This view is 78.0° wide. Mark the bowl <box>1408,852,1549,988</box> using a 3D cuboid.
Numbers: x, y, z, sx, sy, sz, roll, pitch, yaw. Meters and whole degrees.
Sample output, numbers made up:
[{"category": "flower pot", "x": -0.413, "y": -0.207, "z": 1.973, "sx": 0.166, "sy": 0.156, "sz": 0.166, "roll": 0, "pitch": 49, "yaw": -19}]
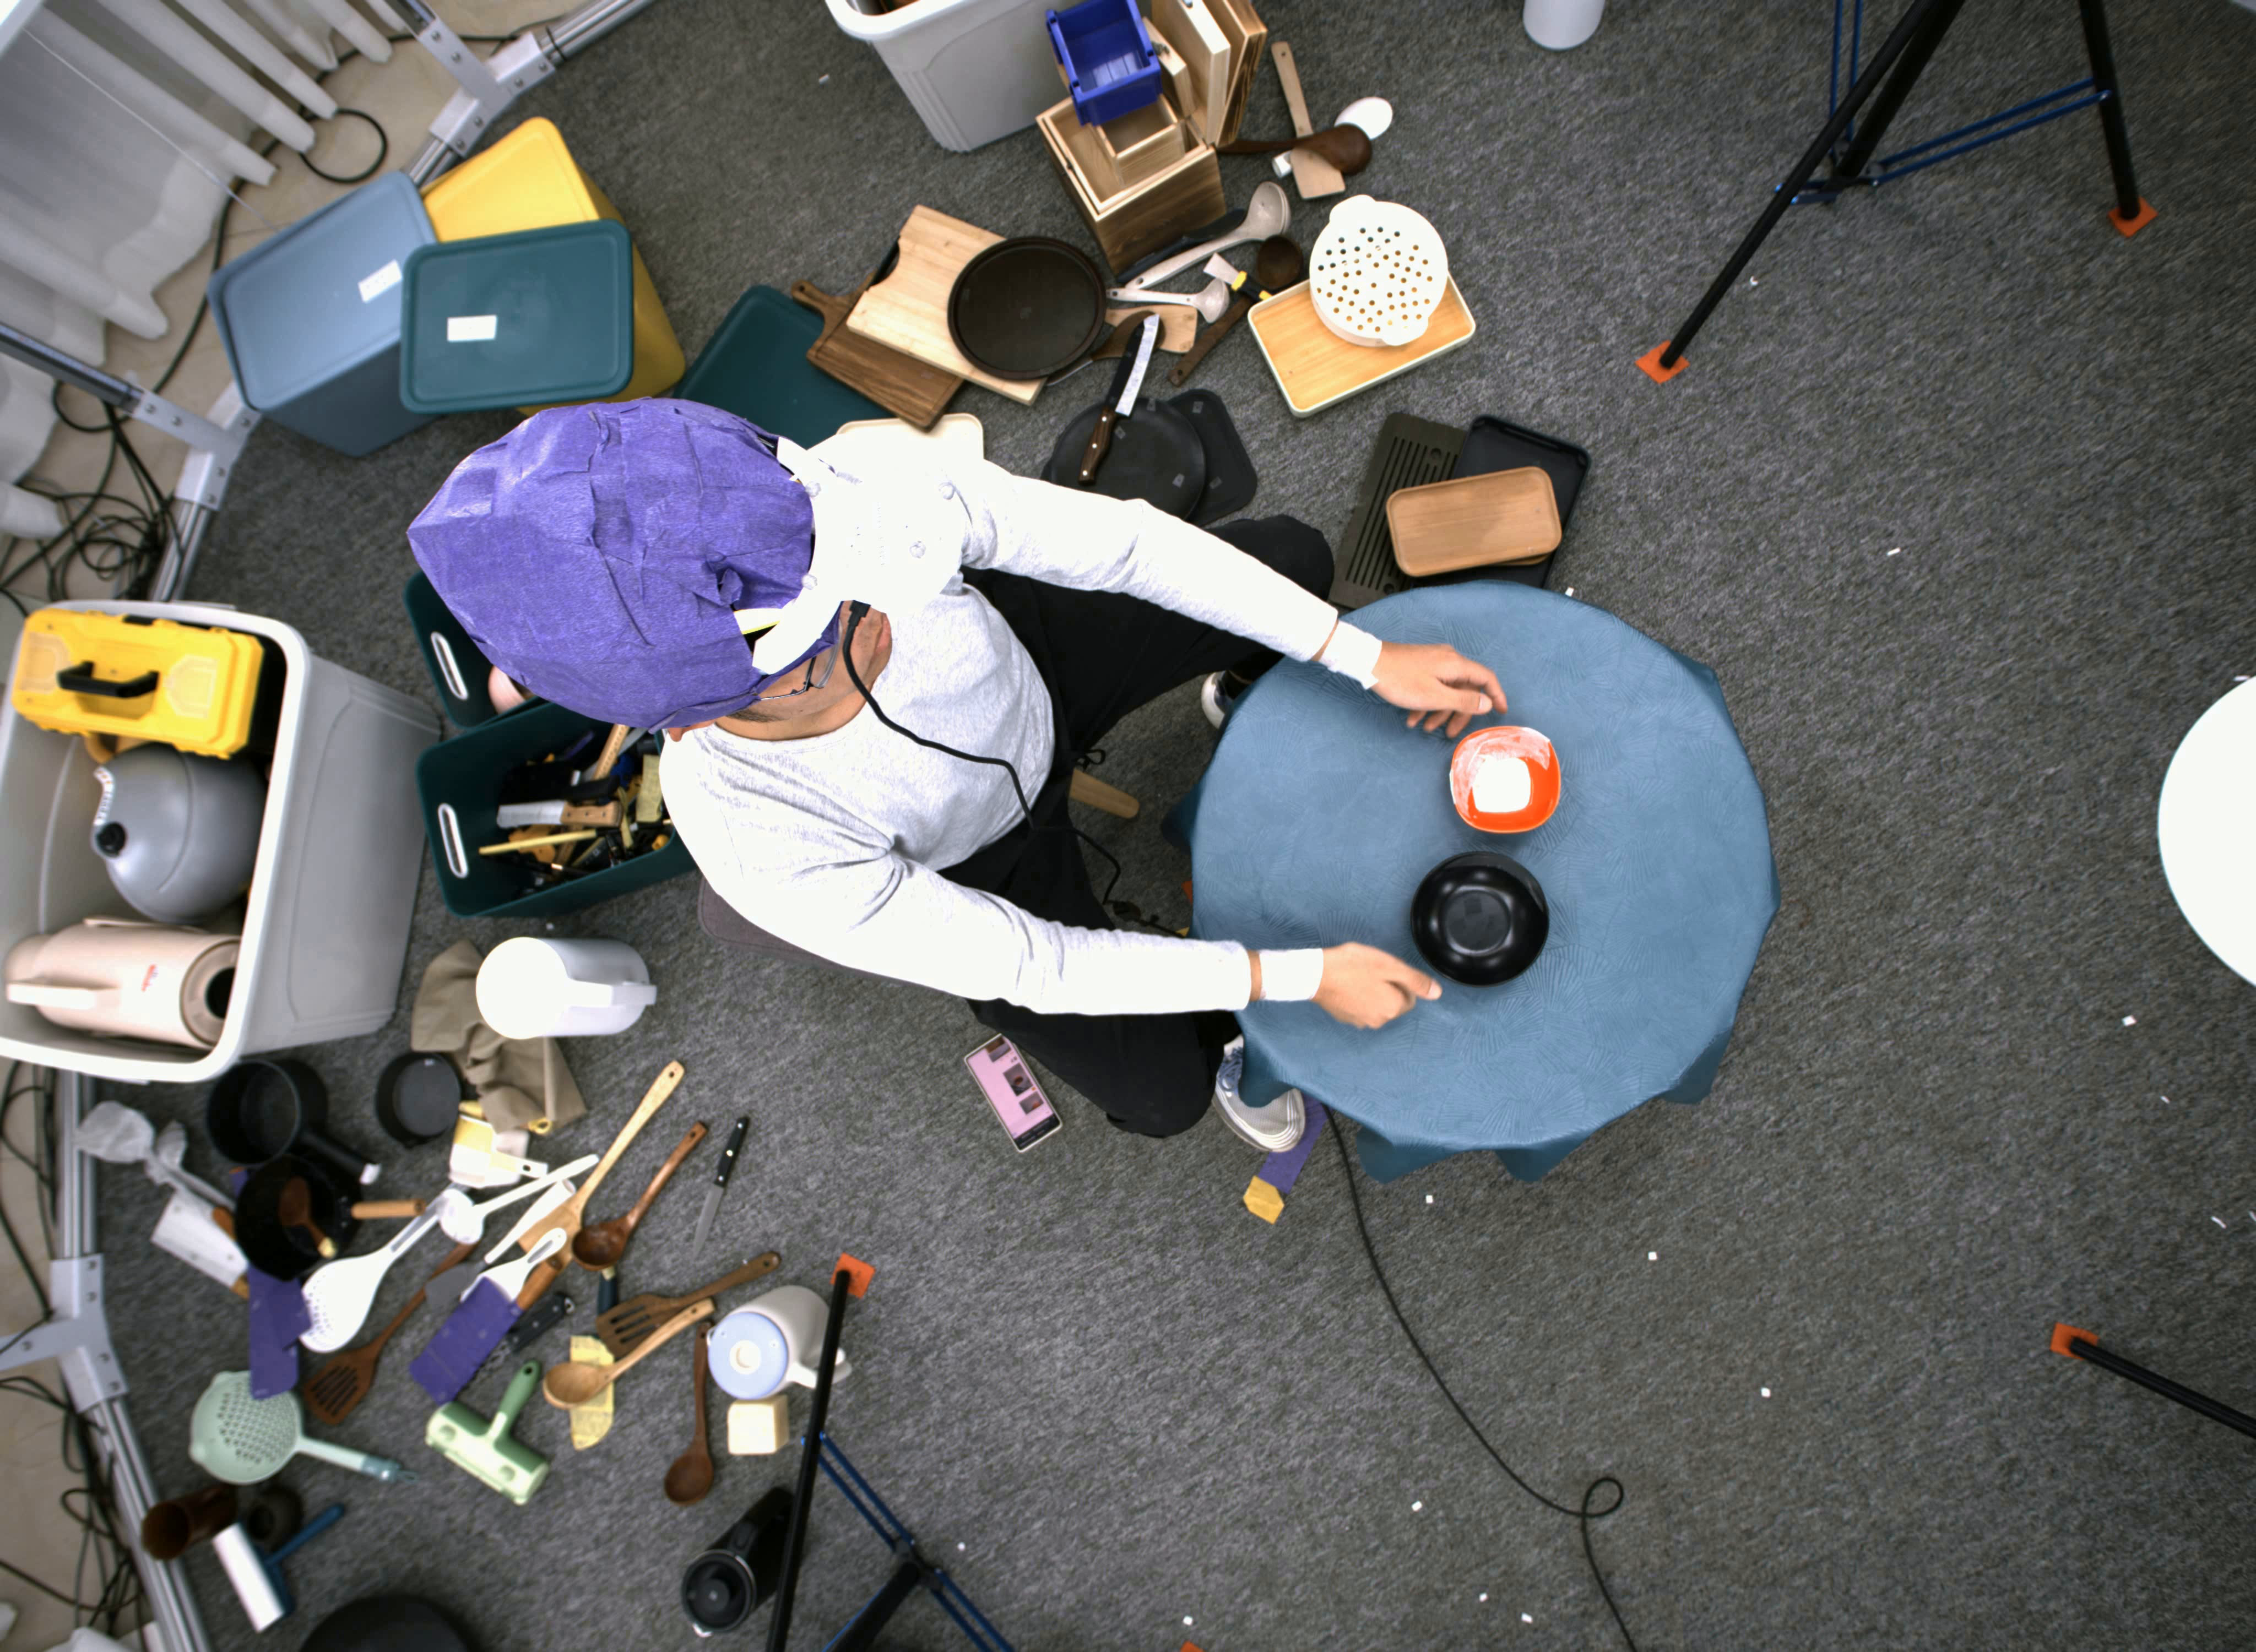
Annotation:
[{"category": "bowl", "x": 0.360, "y": 0.096, "z": 1.418, "sx": 0.140, "sy": 0.050, "sz": 0.139, "roll": -1, "pitch": 85, "yaw": 13}]

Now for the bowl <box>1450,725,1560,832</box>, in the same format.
[{"category": "bowl", "x": 0.387, "y": -0.049, "z": 1.418, "sx": 0.119, "sy": 0.051, "sz": 0.118, "roll": -1, "pitch": 88, "yaw": 9}]
